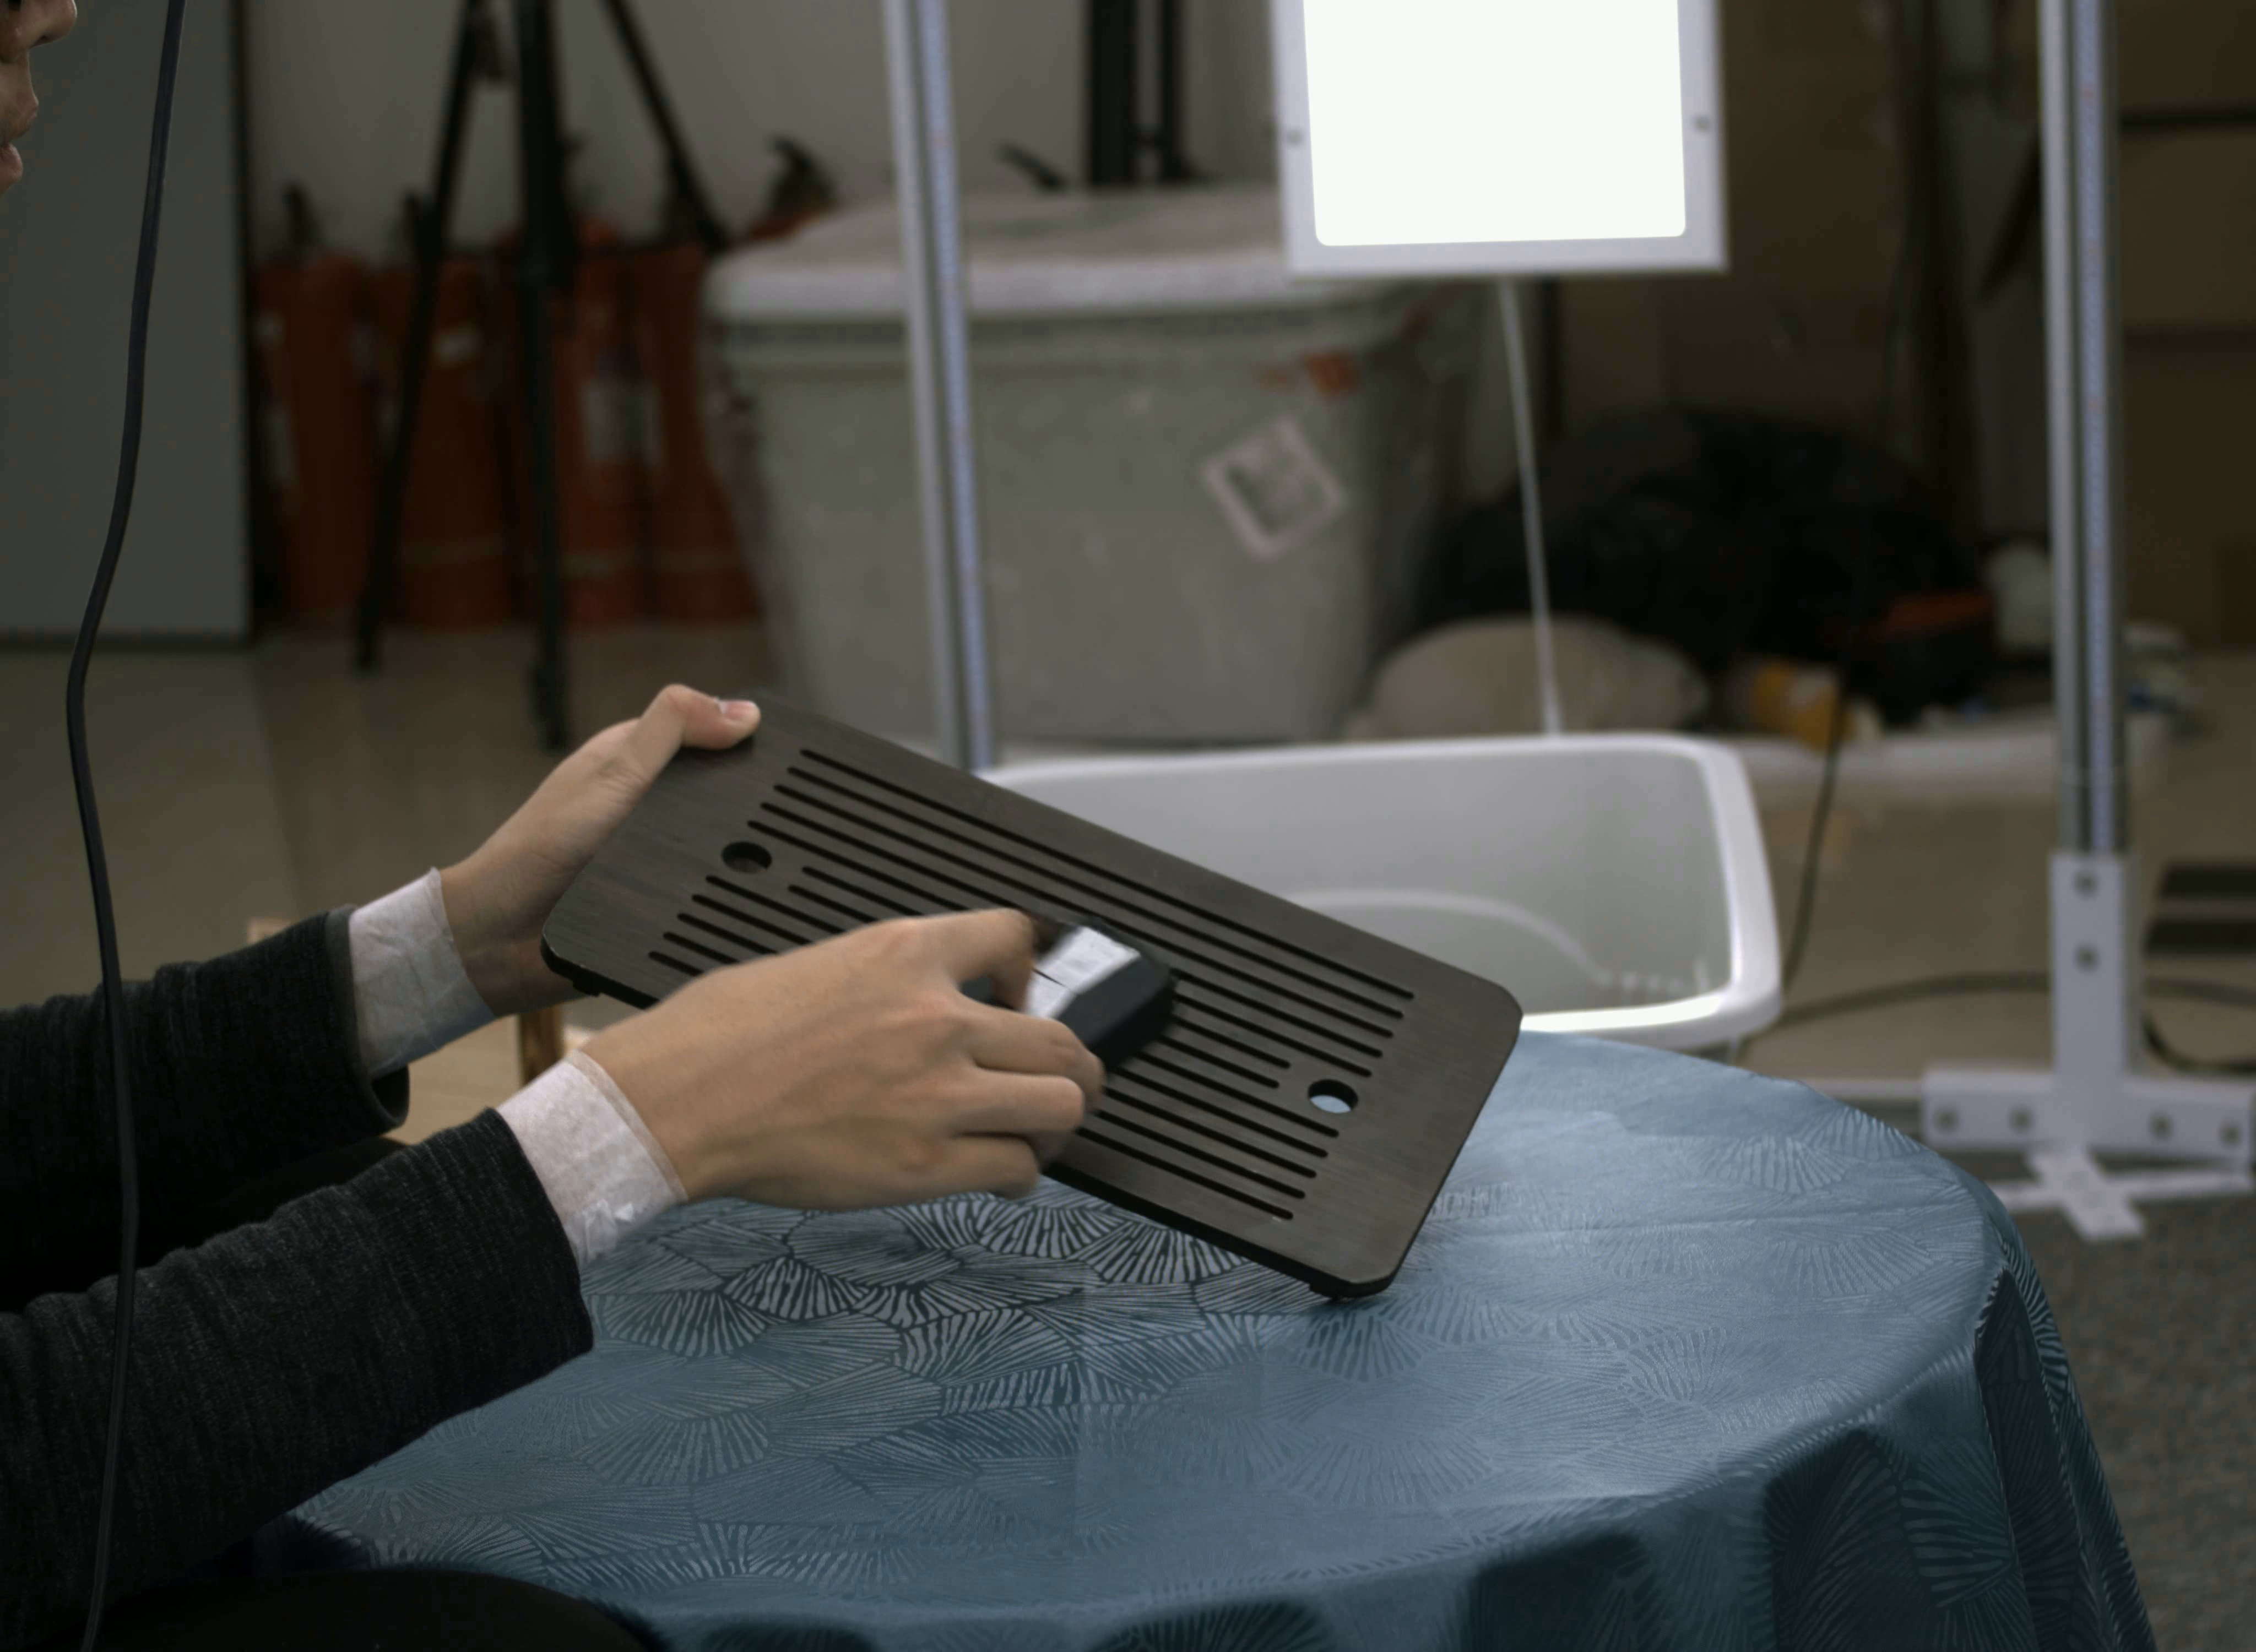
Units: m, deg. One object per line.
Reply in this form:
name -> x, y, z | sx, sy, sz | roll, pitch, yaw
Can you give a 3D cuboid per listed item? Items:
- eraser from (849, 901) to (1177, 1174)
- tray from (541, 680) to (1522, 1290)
eraser -> -0.036, 0.065, 1.737 | 0.054, 0.031, 0.123 | 24, 32, 19
tray -> -0.030, 0.052, 1.851 | 0.307, 0.019, 0.167 | 22, 40, 11
